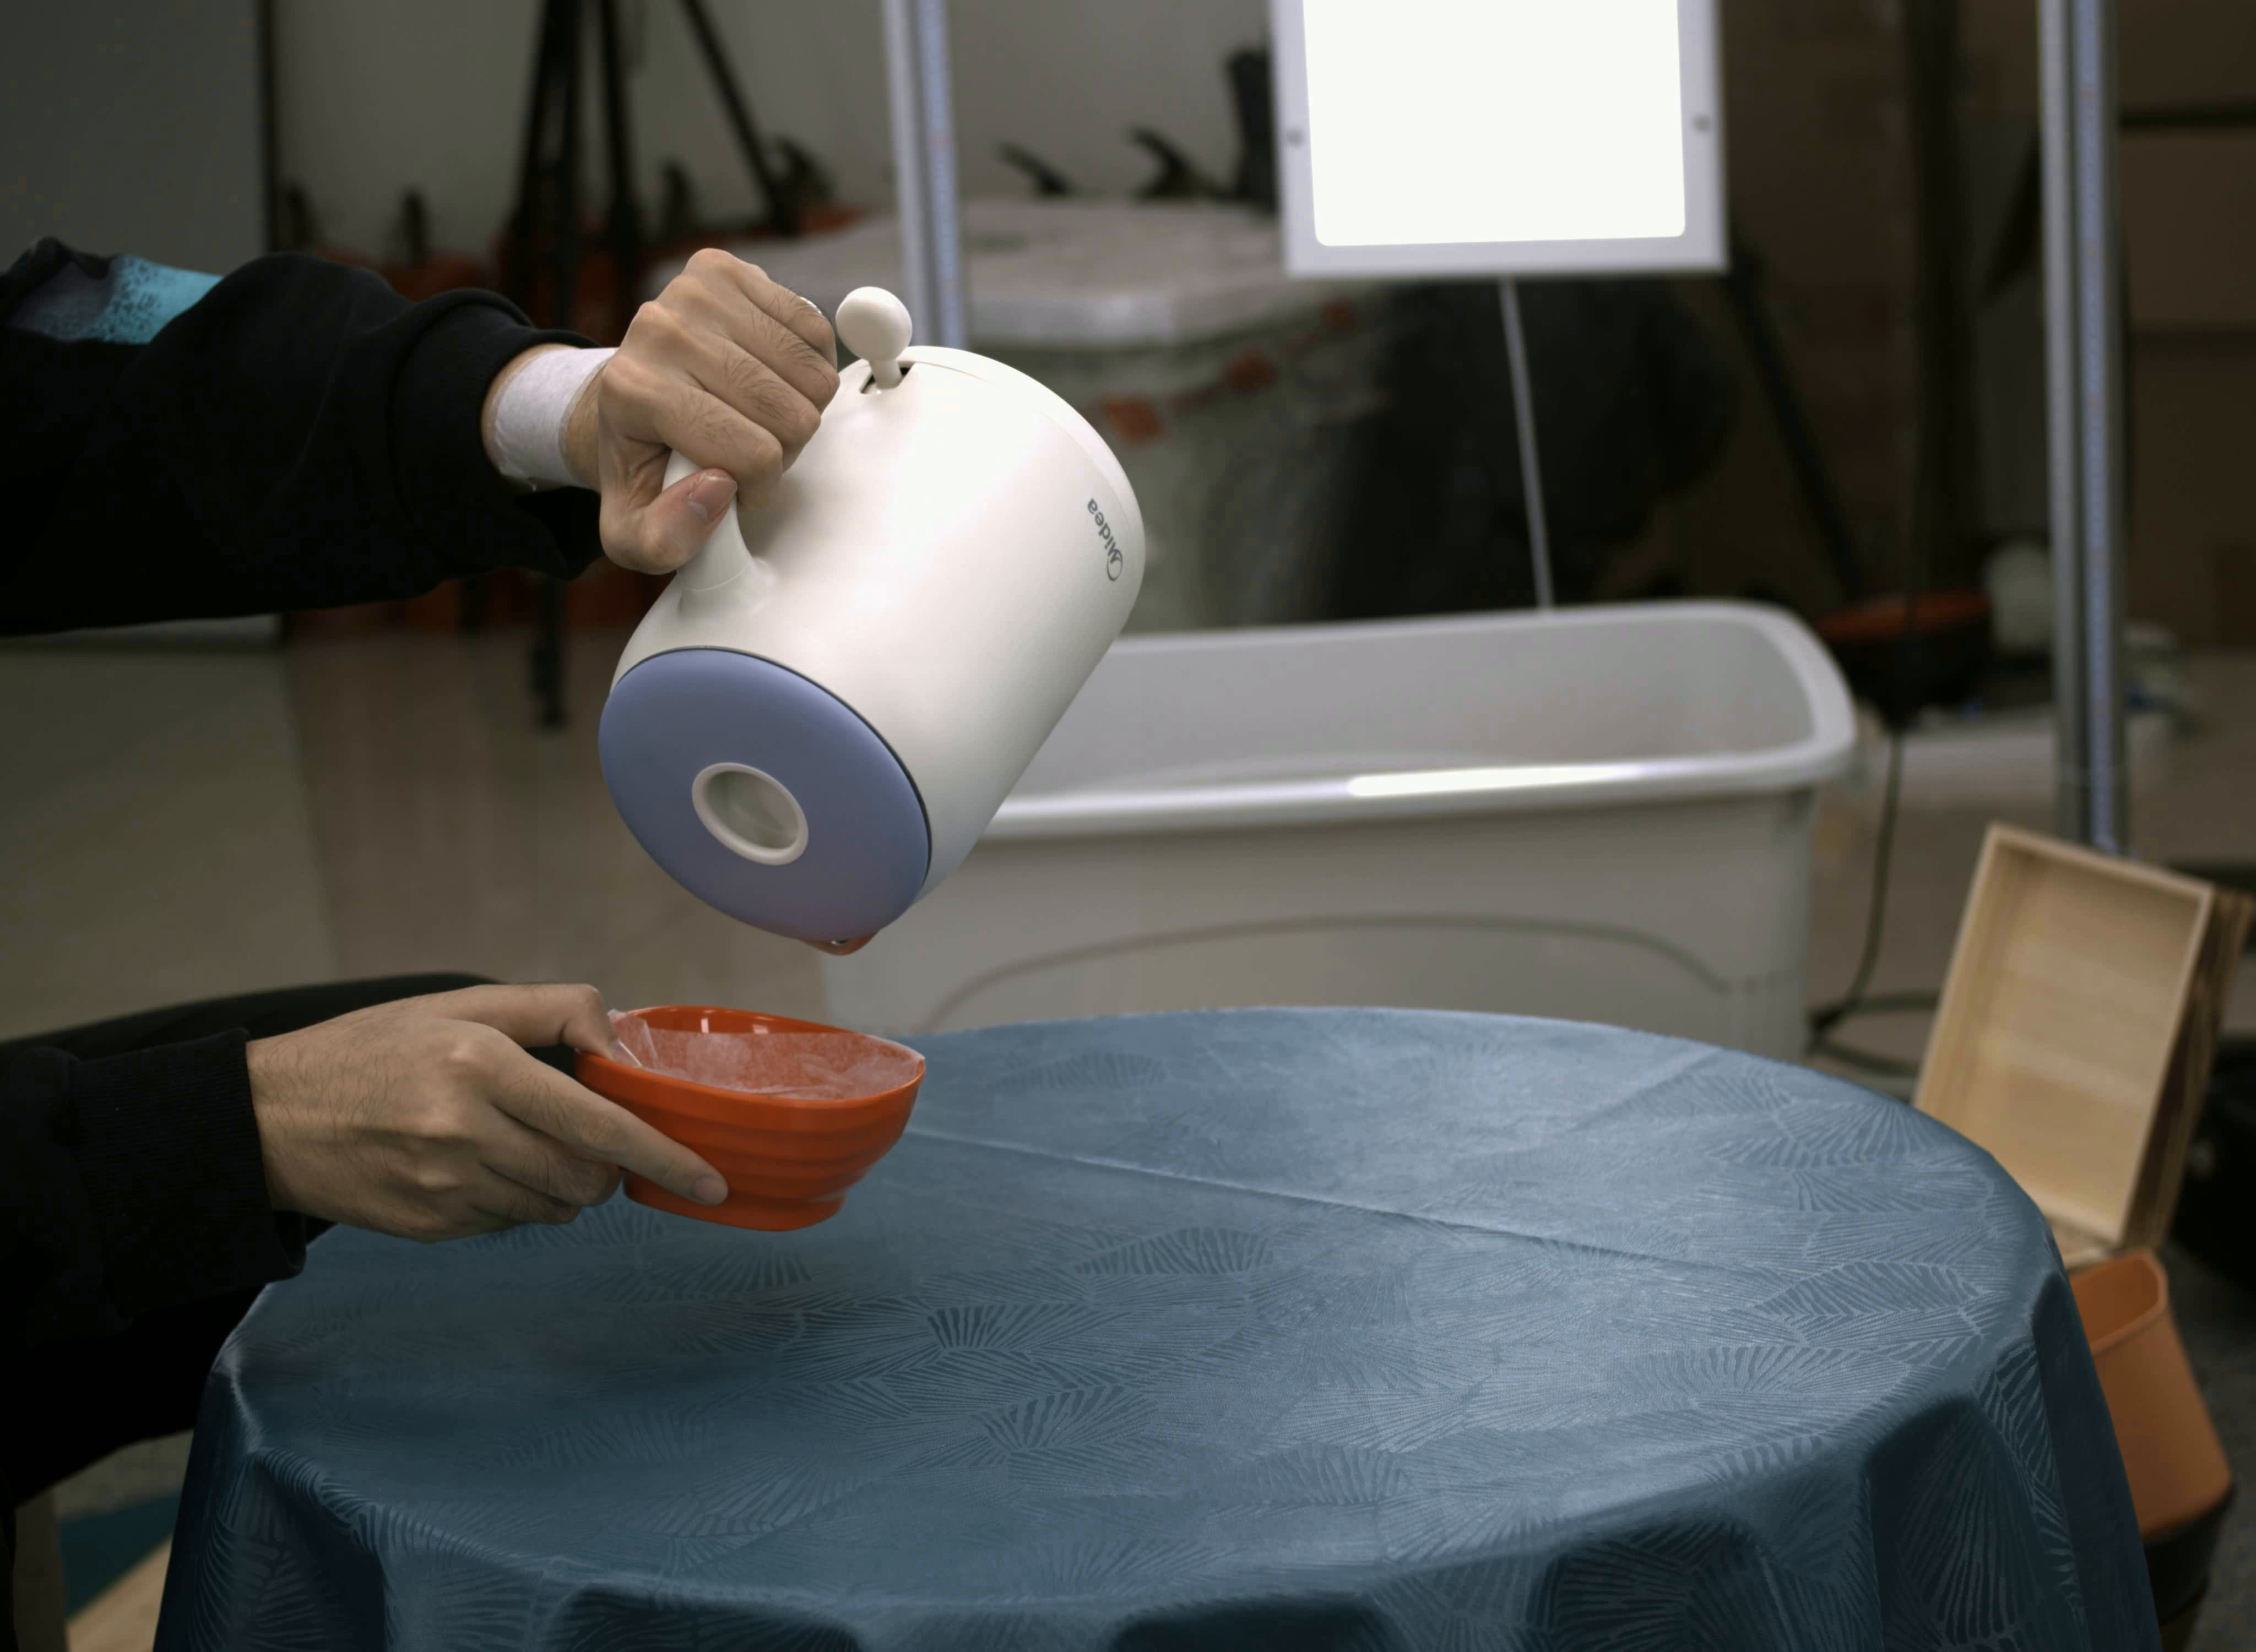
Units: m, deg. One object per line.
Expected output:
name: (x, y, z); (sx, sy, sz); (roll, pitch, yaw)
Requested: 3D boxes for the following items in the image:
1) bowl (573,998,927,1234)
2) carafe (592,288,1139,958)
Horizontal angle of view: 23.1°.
bowl: (-0.125, 0.096, 1.789); (0.118, 0.051, 0.119); (7, 13, -3)
carafe: (-0.095, -0.080, 1.808); (0.135, 0.190, 0.179); (-3, 35, 33)
